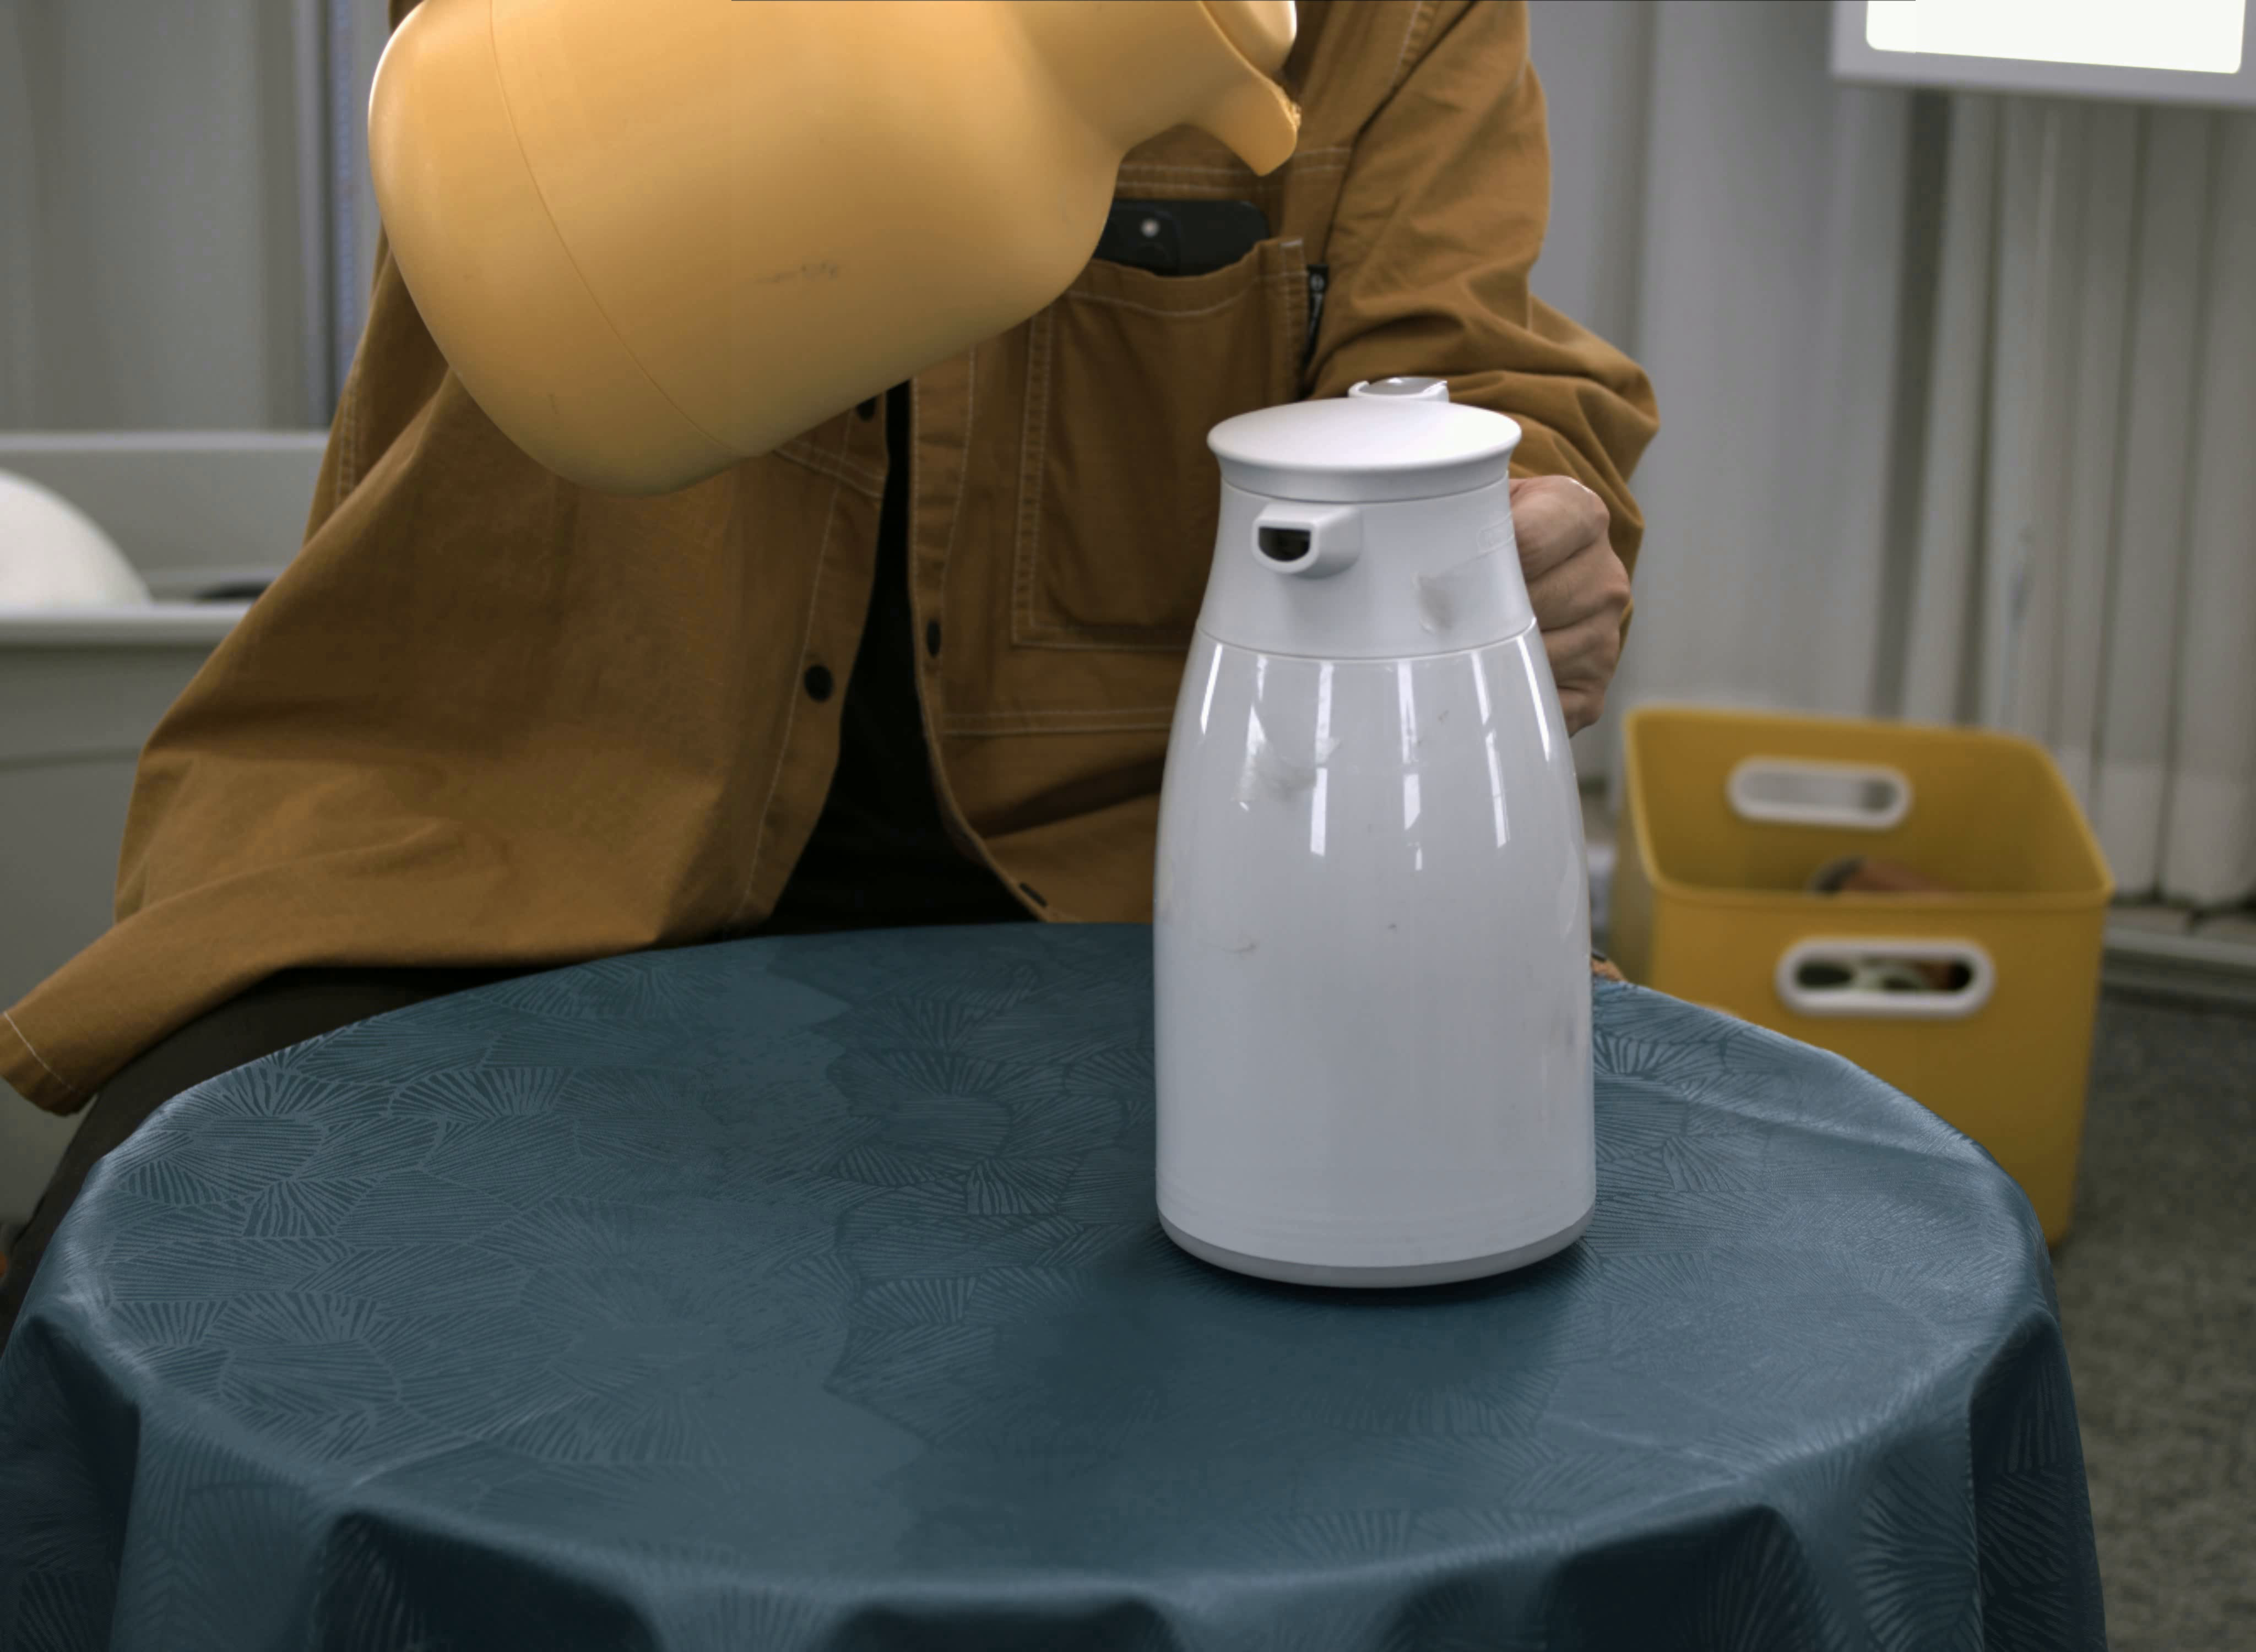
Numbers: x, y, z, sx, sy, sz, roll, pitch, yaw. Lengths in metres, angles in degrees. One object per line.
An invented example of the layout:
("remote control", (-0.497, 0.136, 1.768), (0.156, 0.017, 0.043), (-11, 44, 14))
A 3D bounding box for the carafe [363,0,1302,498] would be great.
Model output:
("carafe", (-0.089, -0.228, 1.509), (0.259, 0.204, 0.162), (-25, 18, 14))

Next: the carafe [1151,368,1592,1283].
("carafe", (0.077, -0.009, 1.567), (0.131, 0.250, 0.168), (5, 17, 22))
